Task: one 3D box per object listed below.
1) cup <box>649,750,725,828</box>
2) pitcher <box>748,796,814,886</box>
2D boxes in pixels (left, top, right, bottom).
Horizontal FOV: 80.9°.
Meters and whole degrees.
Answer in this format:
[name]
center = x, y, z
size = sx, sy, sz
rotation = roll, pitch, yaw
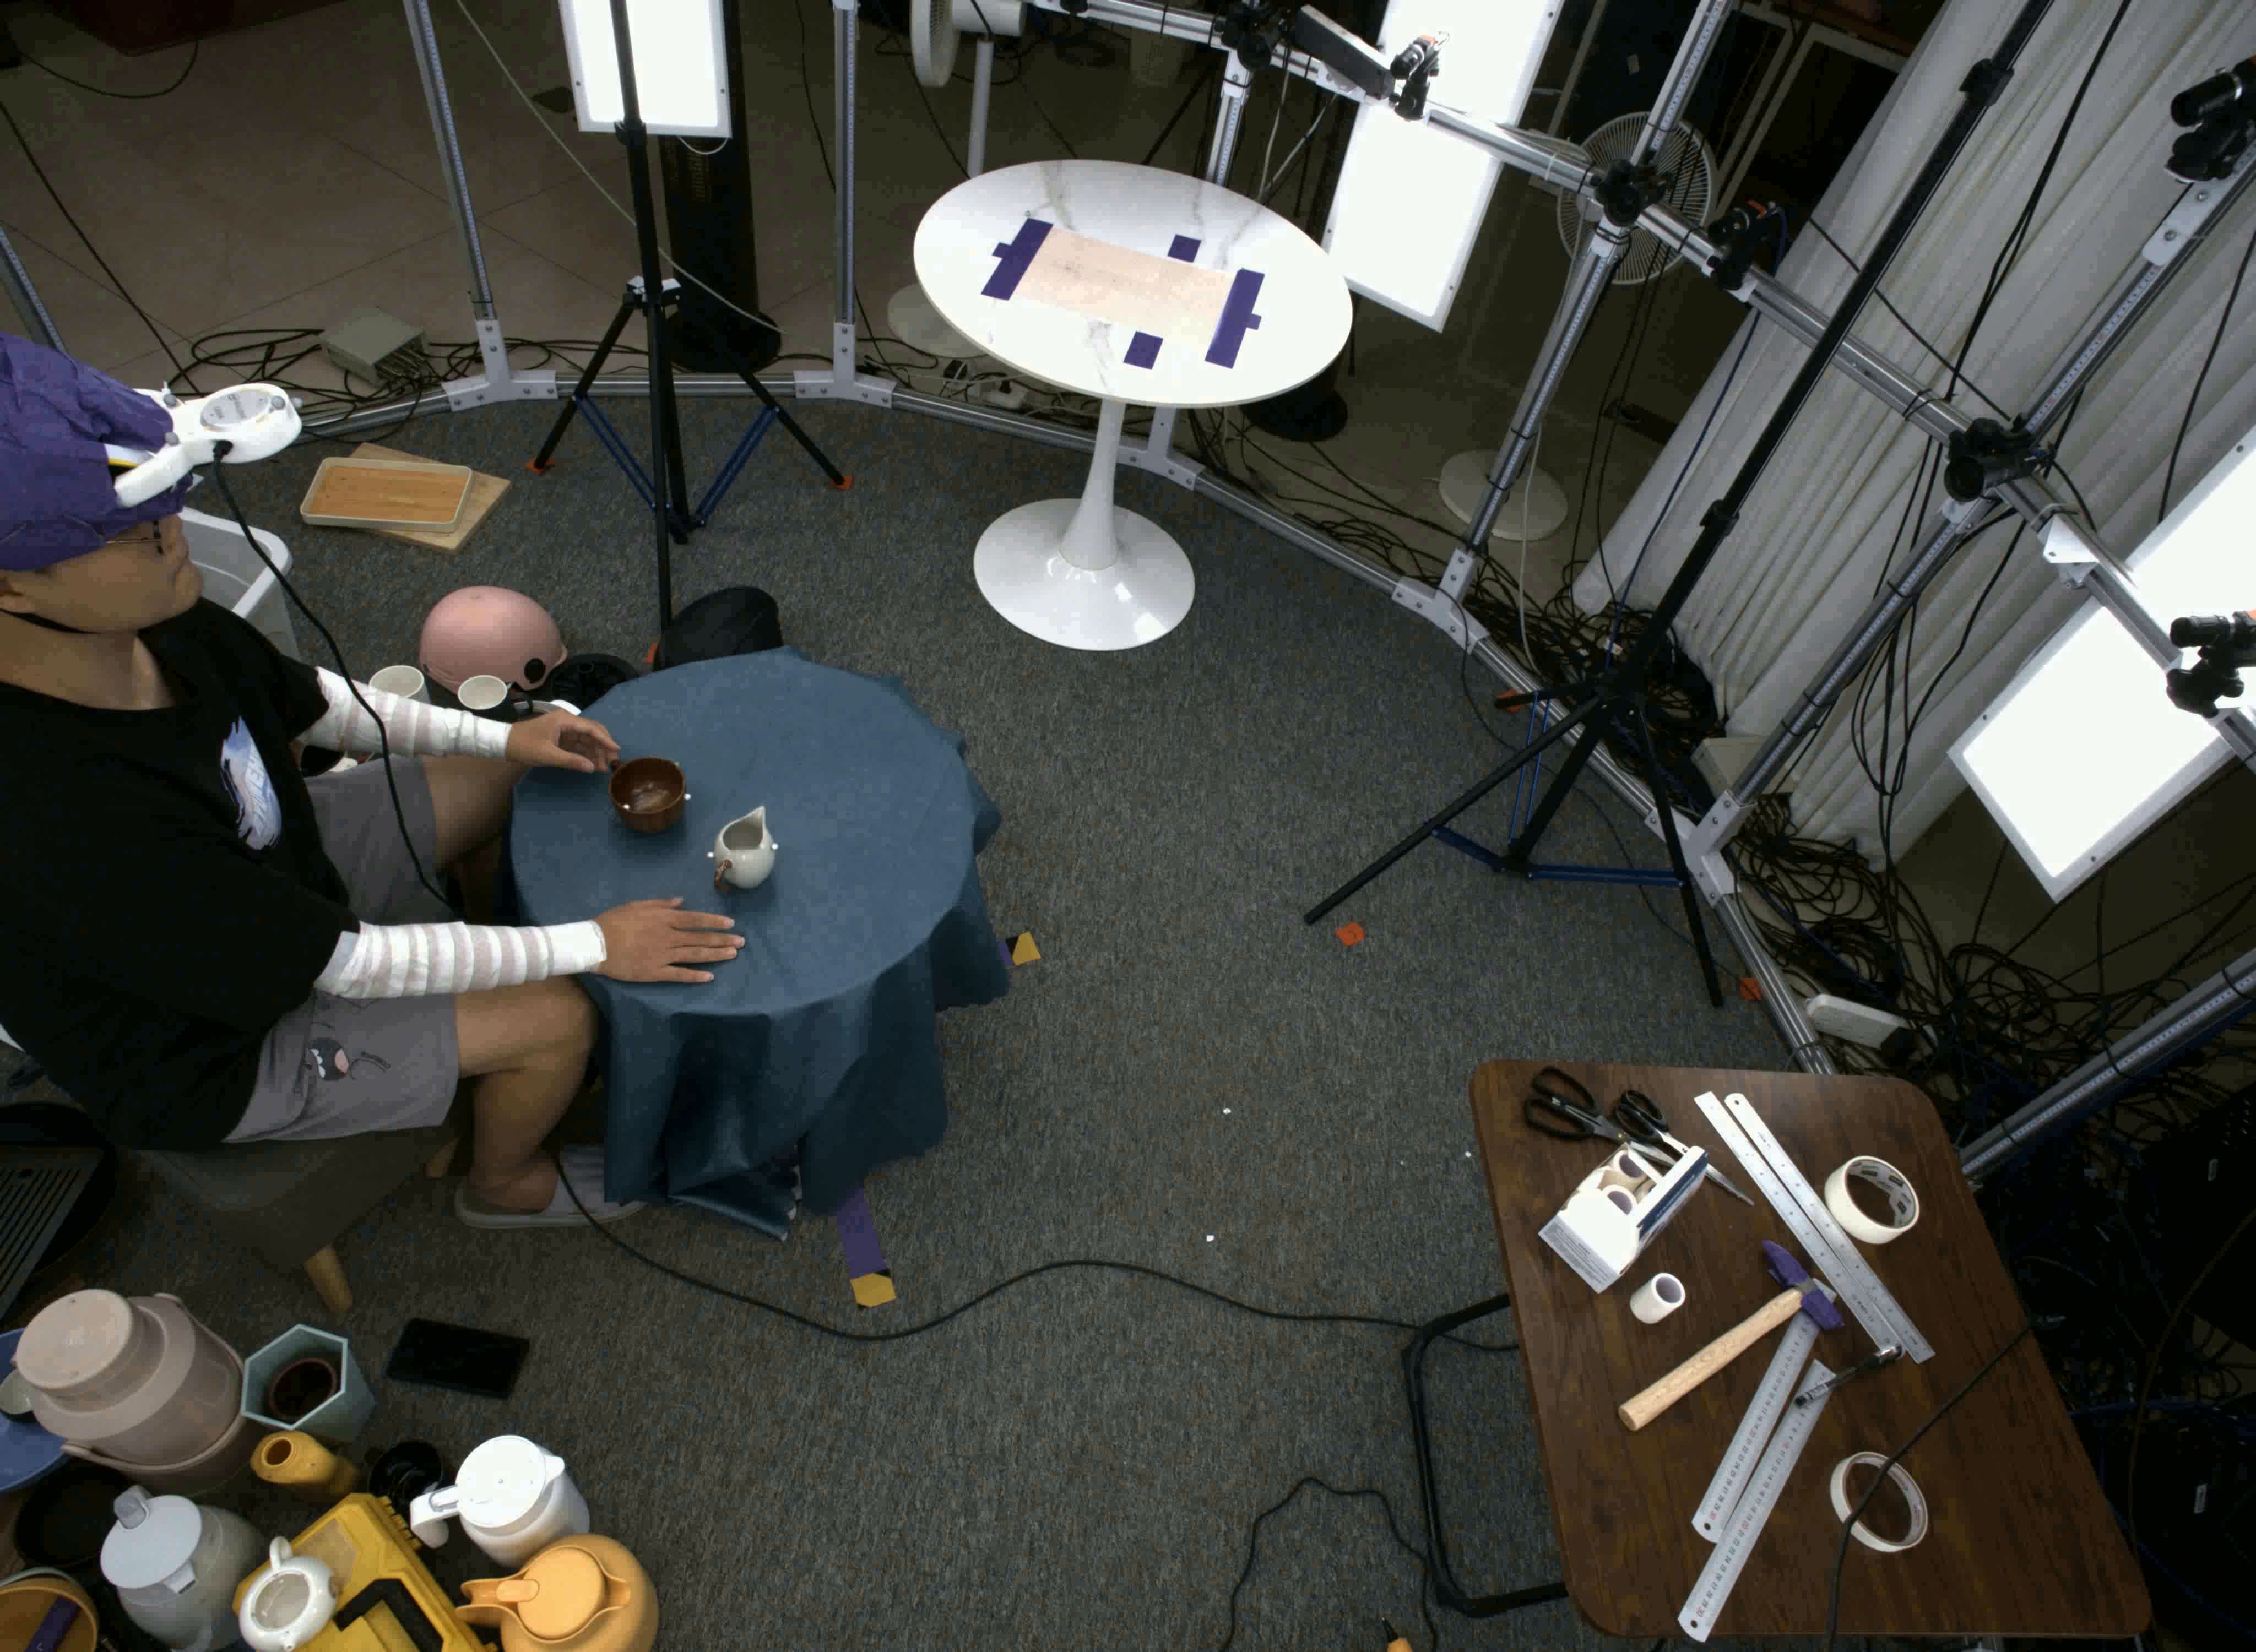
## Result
[cup]
center = -0.584, -0.051, 1.690
size = 0.117, 0.069, 0.096
rotation = 35, 57, 16
[pitcher]
center = -0.443, 0.029, 1.650
size = 0.074, 0.090, 0.118
rotation = 24, 48, 13
